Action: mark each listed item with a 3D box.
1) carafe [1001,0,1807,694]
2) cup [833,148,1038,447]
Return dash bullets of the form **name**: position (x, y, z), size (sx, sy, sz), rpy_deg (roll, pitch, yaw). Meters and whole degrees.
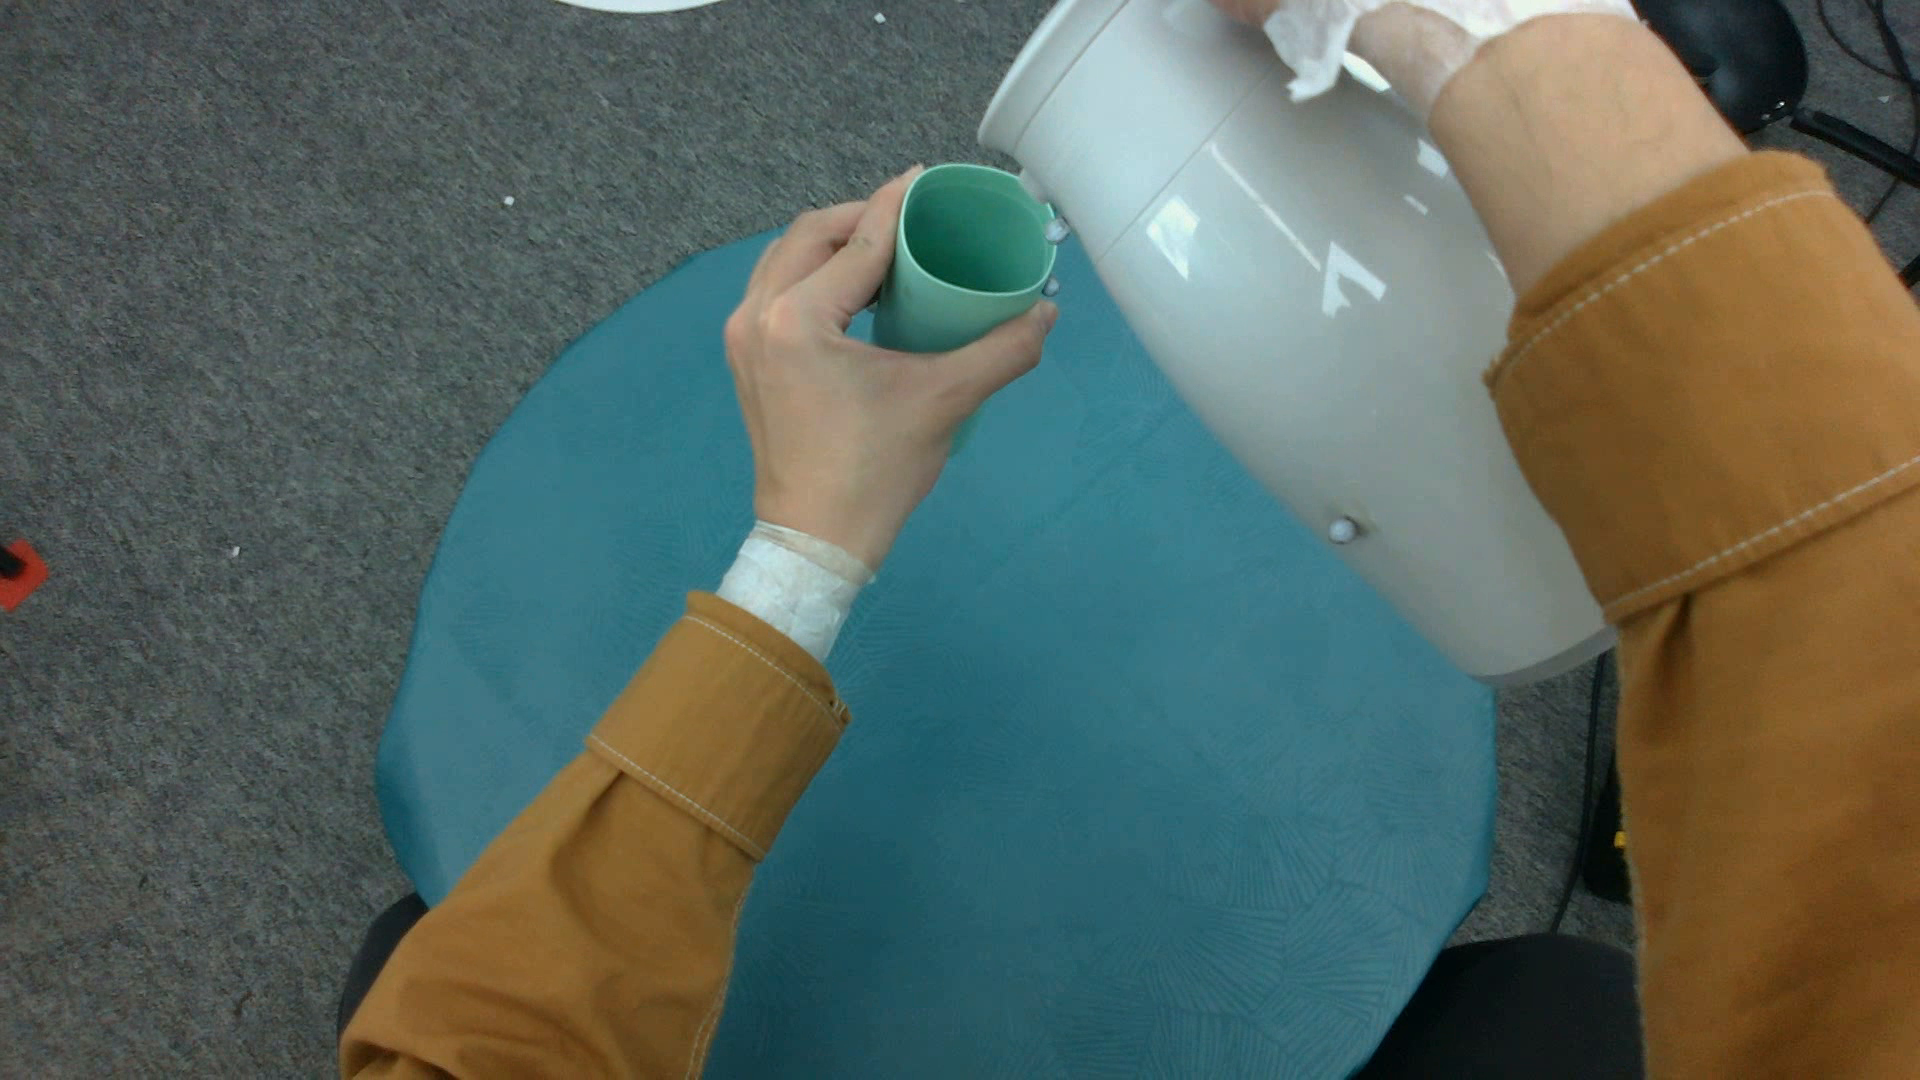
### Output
- **carafe**: position (0.135, -0.091, 0.448), size (0.248, 0.167, 0.133), rpy_deg (44, 54, 12)
- **cup**: position (-0.015, -0.098, 0.591), size (0.067, 0.131, 0.067), rpy_deg (6, 62, -12)
